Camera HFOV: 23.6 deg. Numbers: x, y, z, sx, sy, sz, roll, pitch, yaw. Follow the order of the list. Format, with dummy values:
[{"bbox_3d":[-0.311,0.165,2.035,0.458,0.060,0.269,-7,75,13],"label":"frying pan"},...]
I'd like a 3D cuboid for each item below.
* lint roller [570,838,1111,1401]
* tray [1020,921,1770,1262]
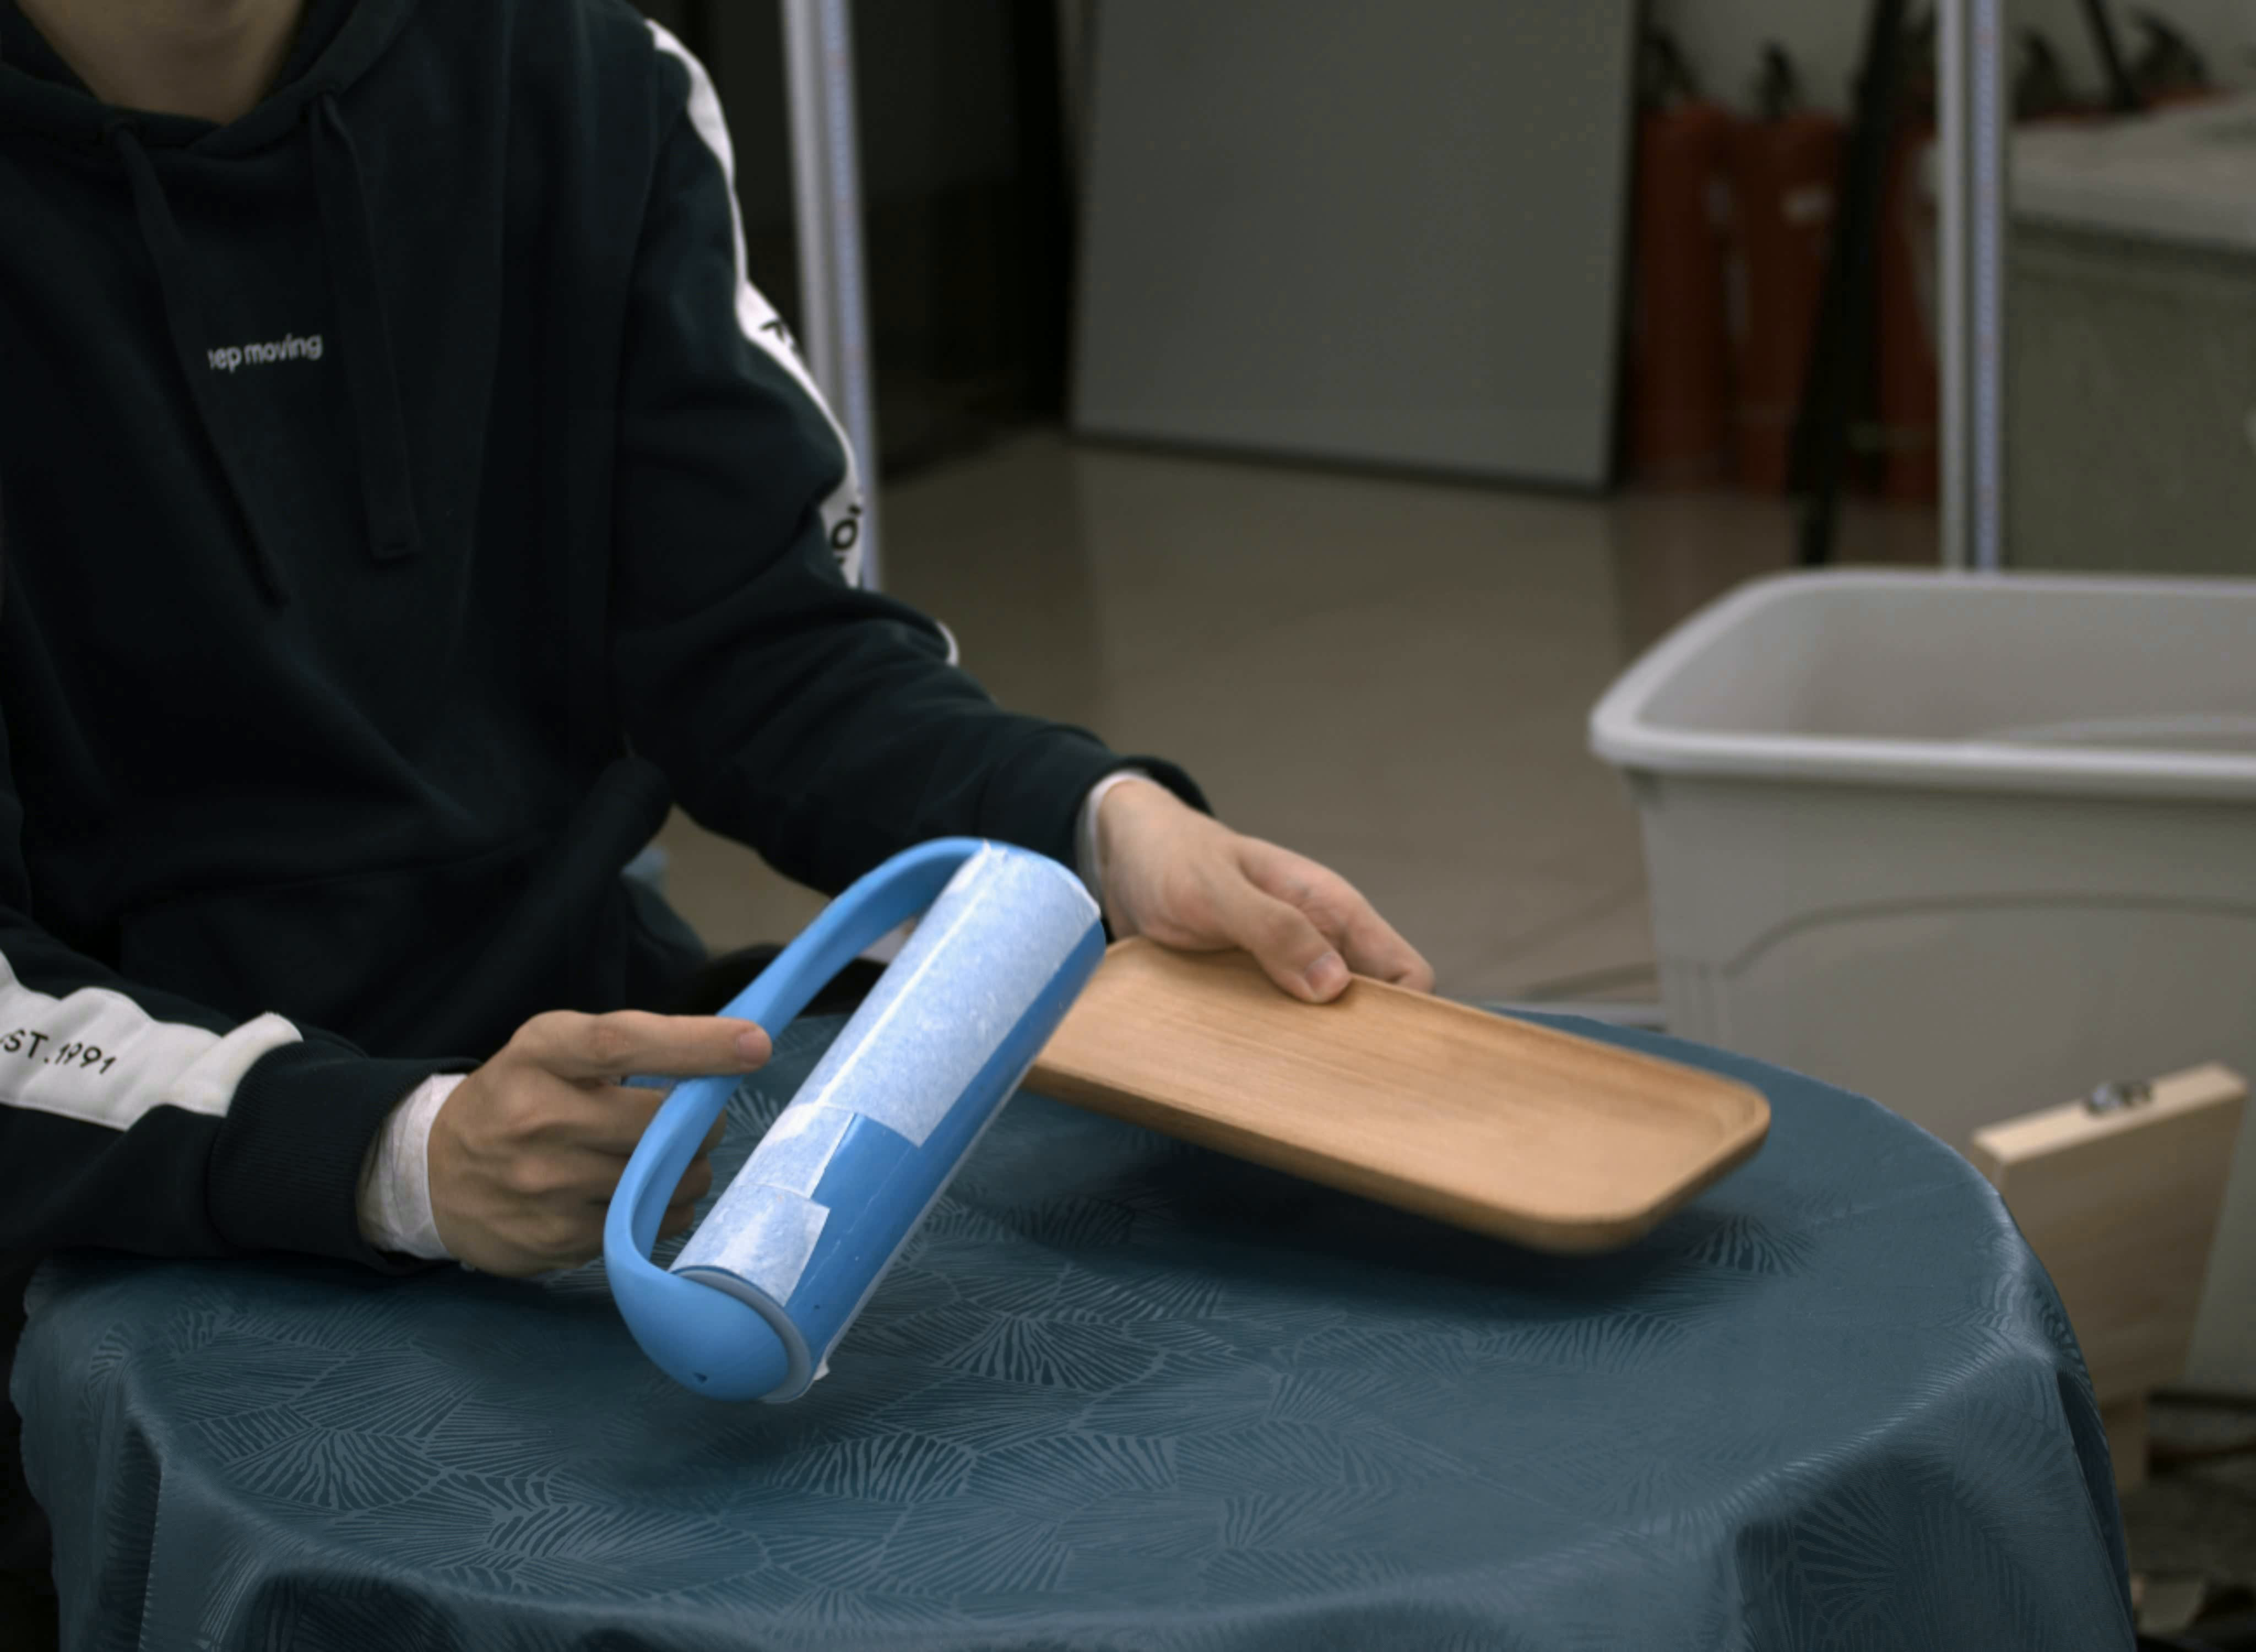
[{"bbox_3d":[-0.117,0.094,1.645,0.181,0.068,0.228,-12,32,38],"label":"lint roller"},{"bbox_3d":[0.077,0.083,1.725,0.252,0.023,0.128,17,23,34],"label":"tray"}]
